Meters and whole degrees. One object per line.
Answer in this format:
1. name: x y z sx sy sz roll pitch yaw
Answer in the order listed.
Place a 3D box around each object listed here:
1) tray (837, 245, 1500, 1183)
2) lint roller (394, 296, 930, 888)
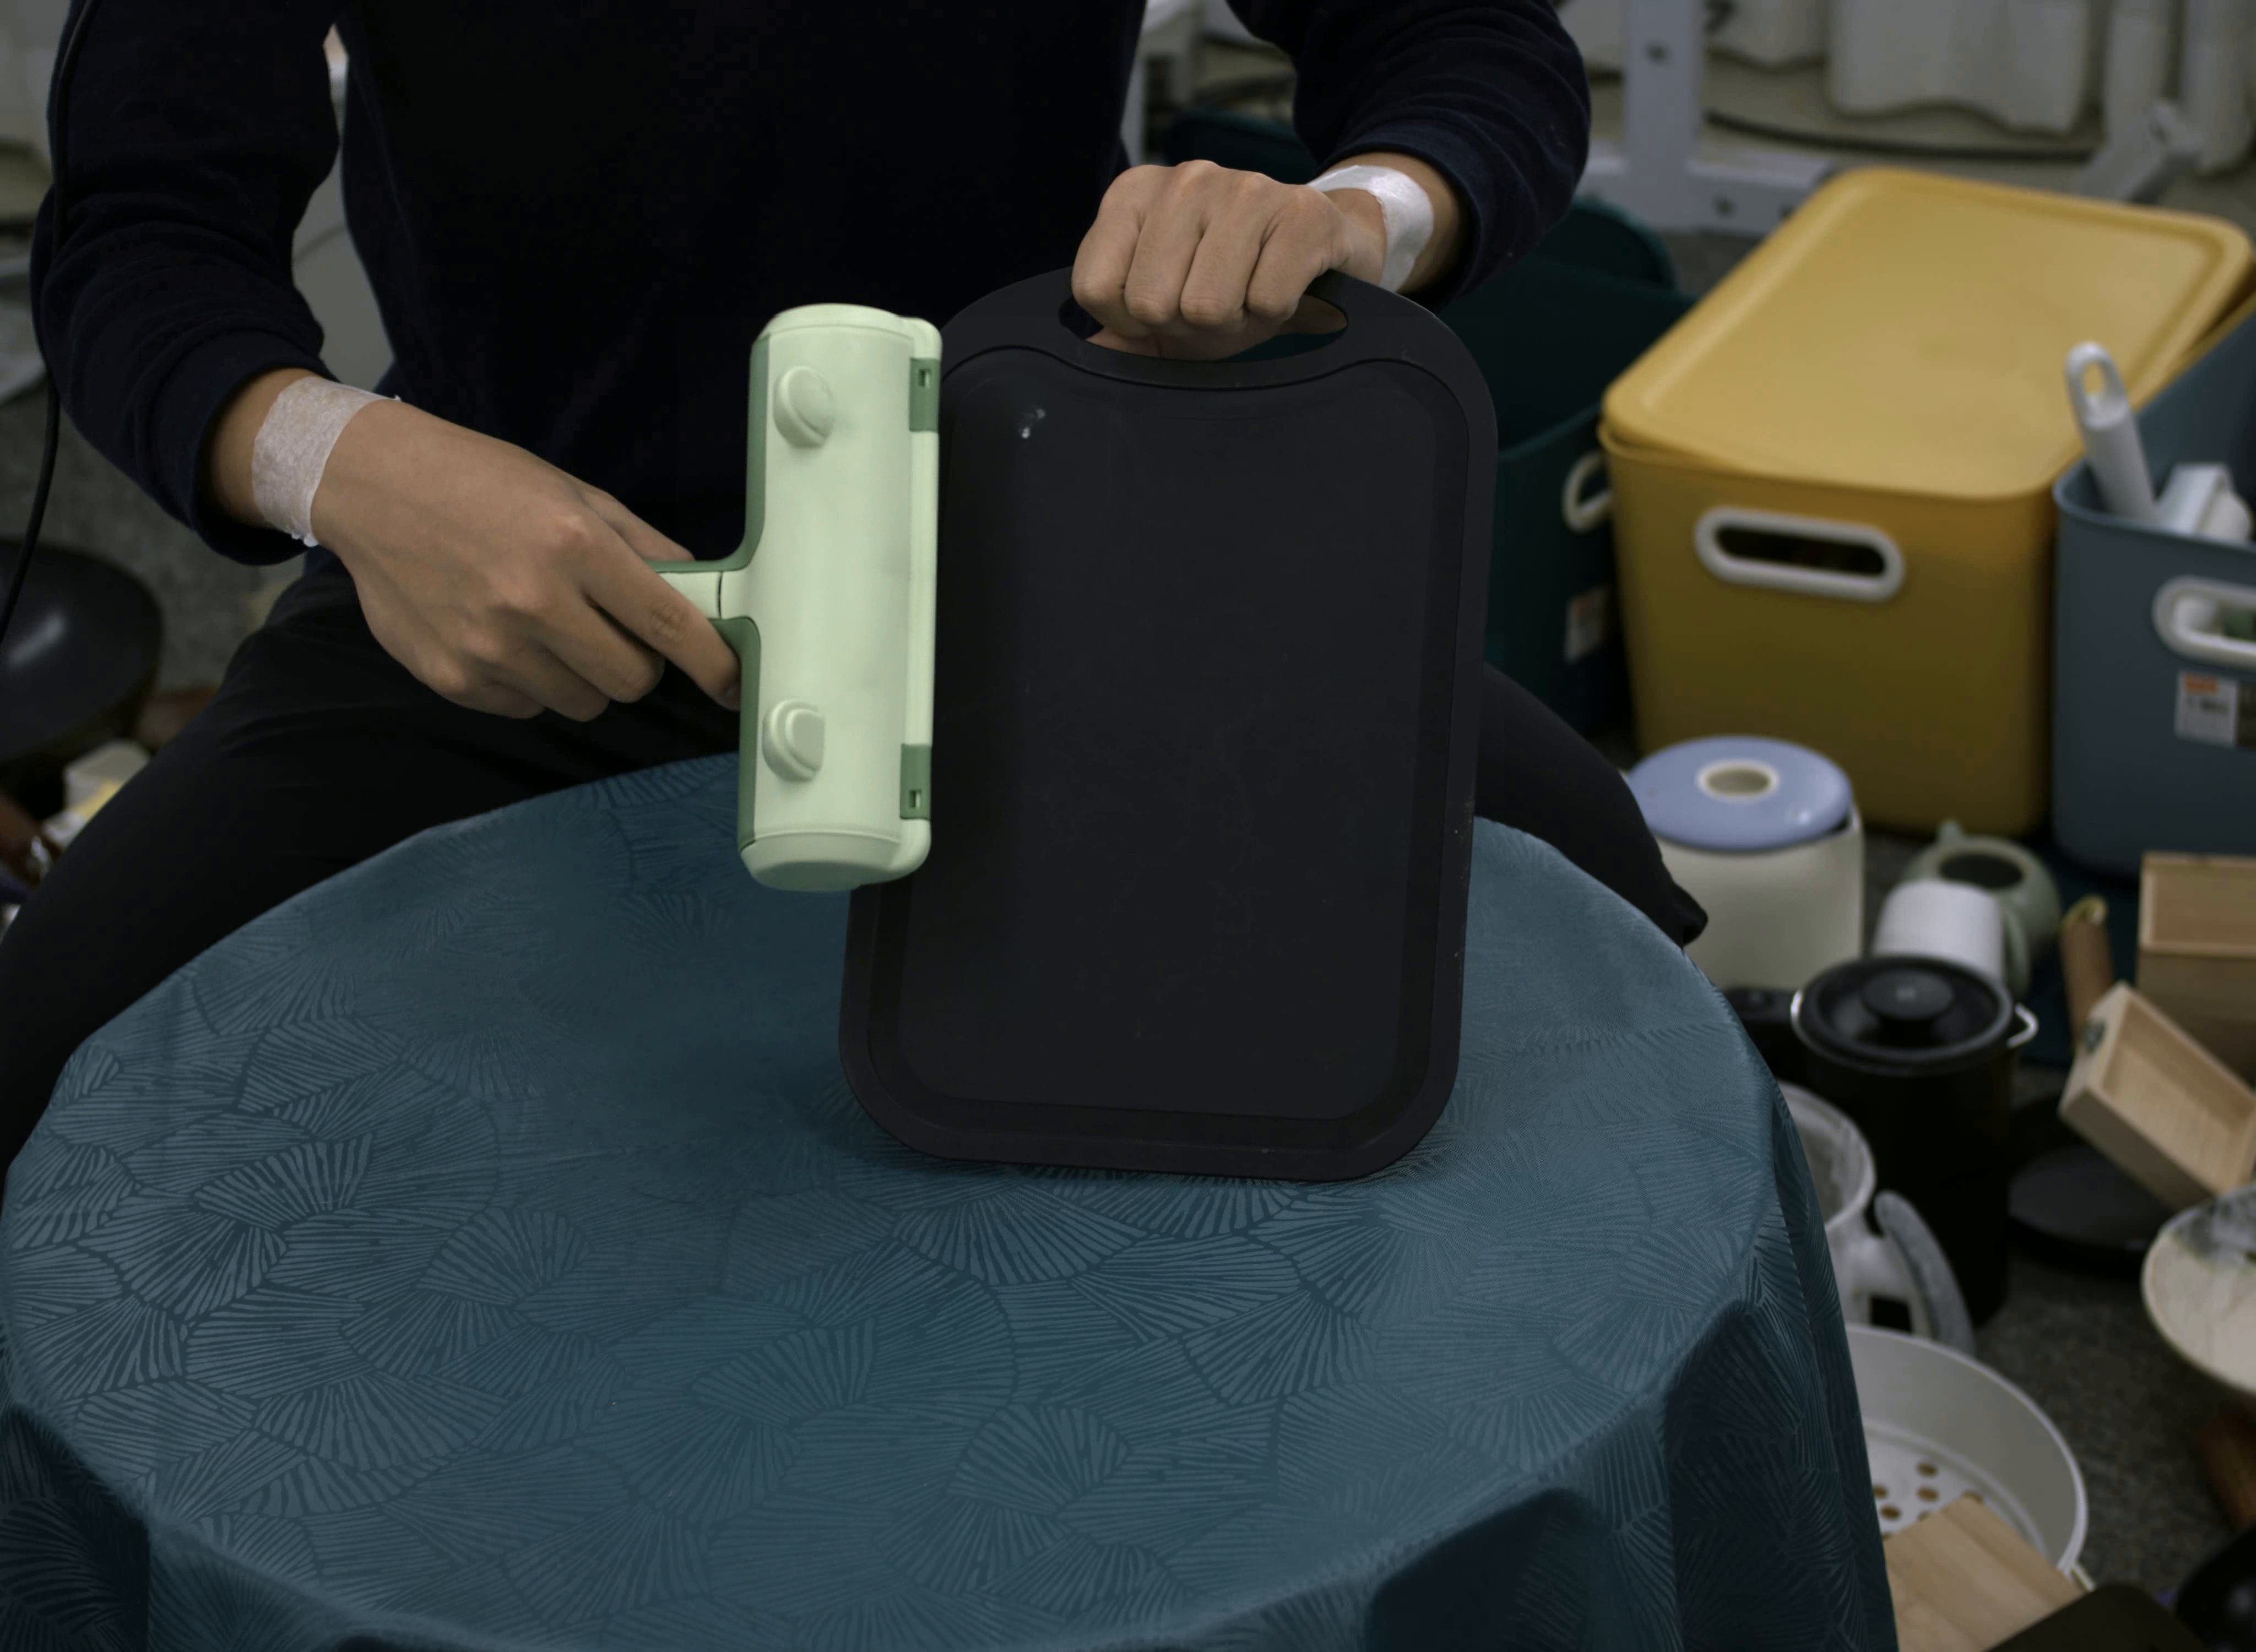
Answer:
1. tray: 0.015 -0.043 1.907 0.210 0.330 0.010 3 -16 6
2. lint roller: -0.158 -0.080 1.880 0.182 0.201 0.081 0 -17 -1
